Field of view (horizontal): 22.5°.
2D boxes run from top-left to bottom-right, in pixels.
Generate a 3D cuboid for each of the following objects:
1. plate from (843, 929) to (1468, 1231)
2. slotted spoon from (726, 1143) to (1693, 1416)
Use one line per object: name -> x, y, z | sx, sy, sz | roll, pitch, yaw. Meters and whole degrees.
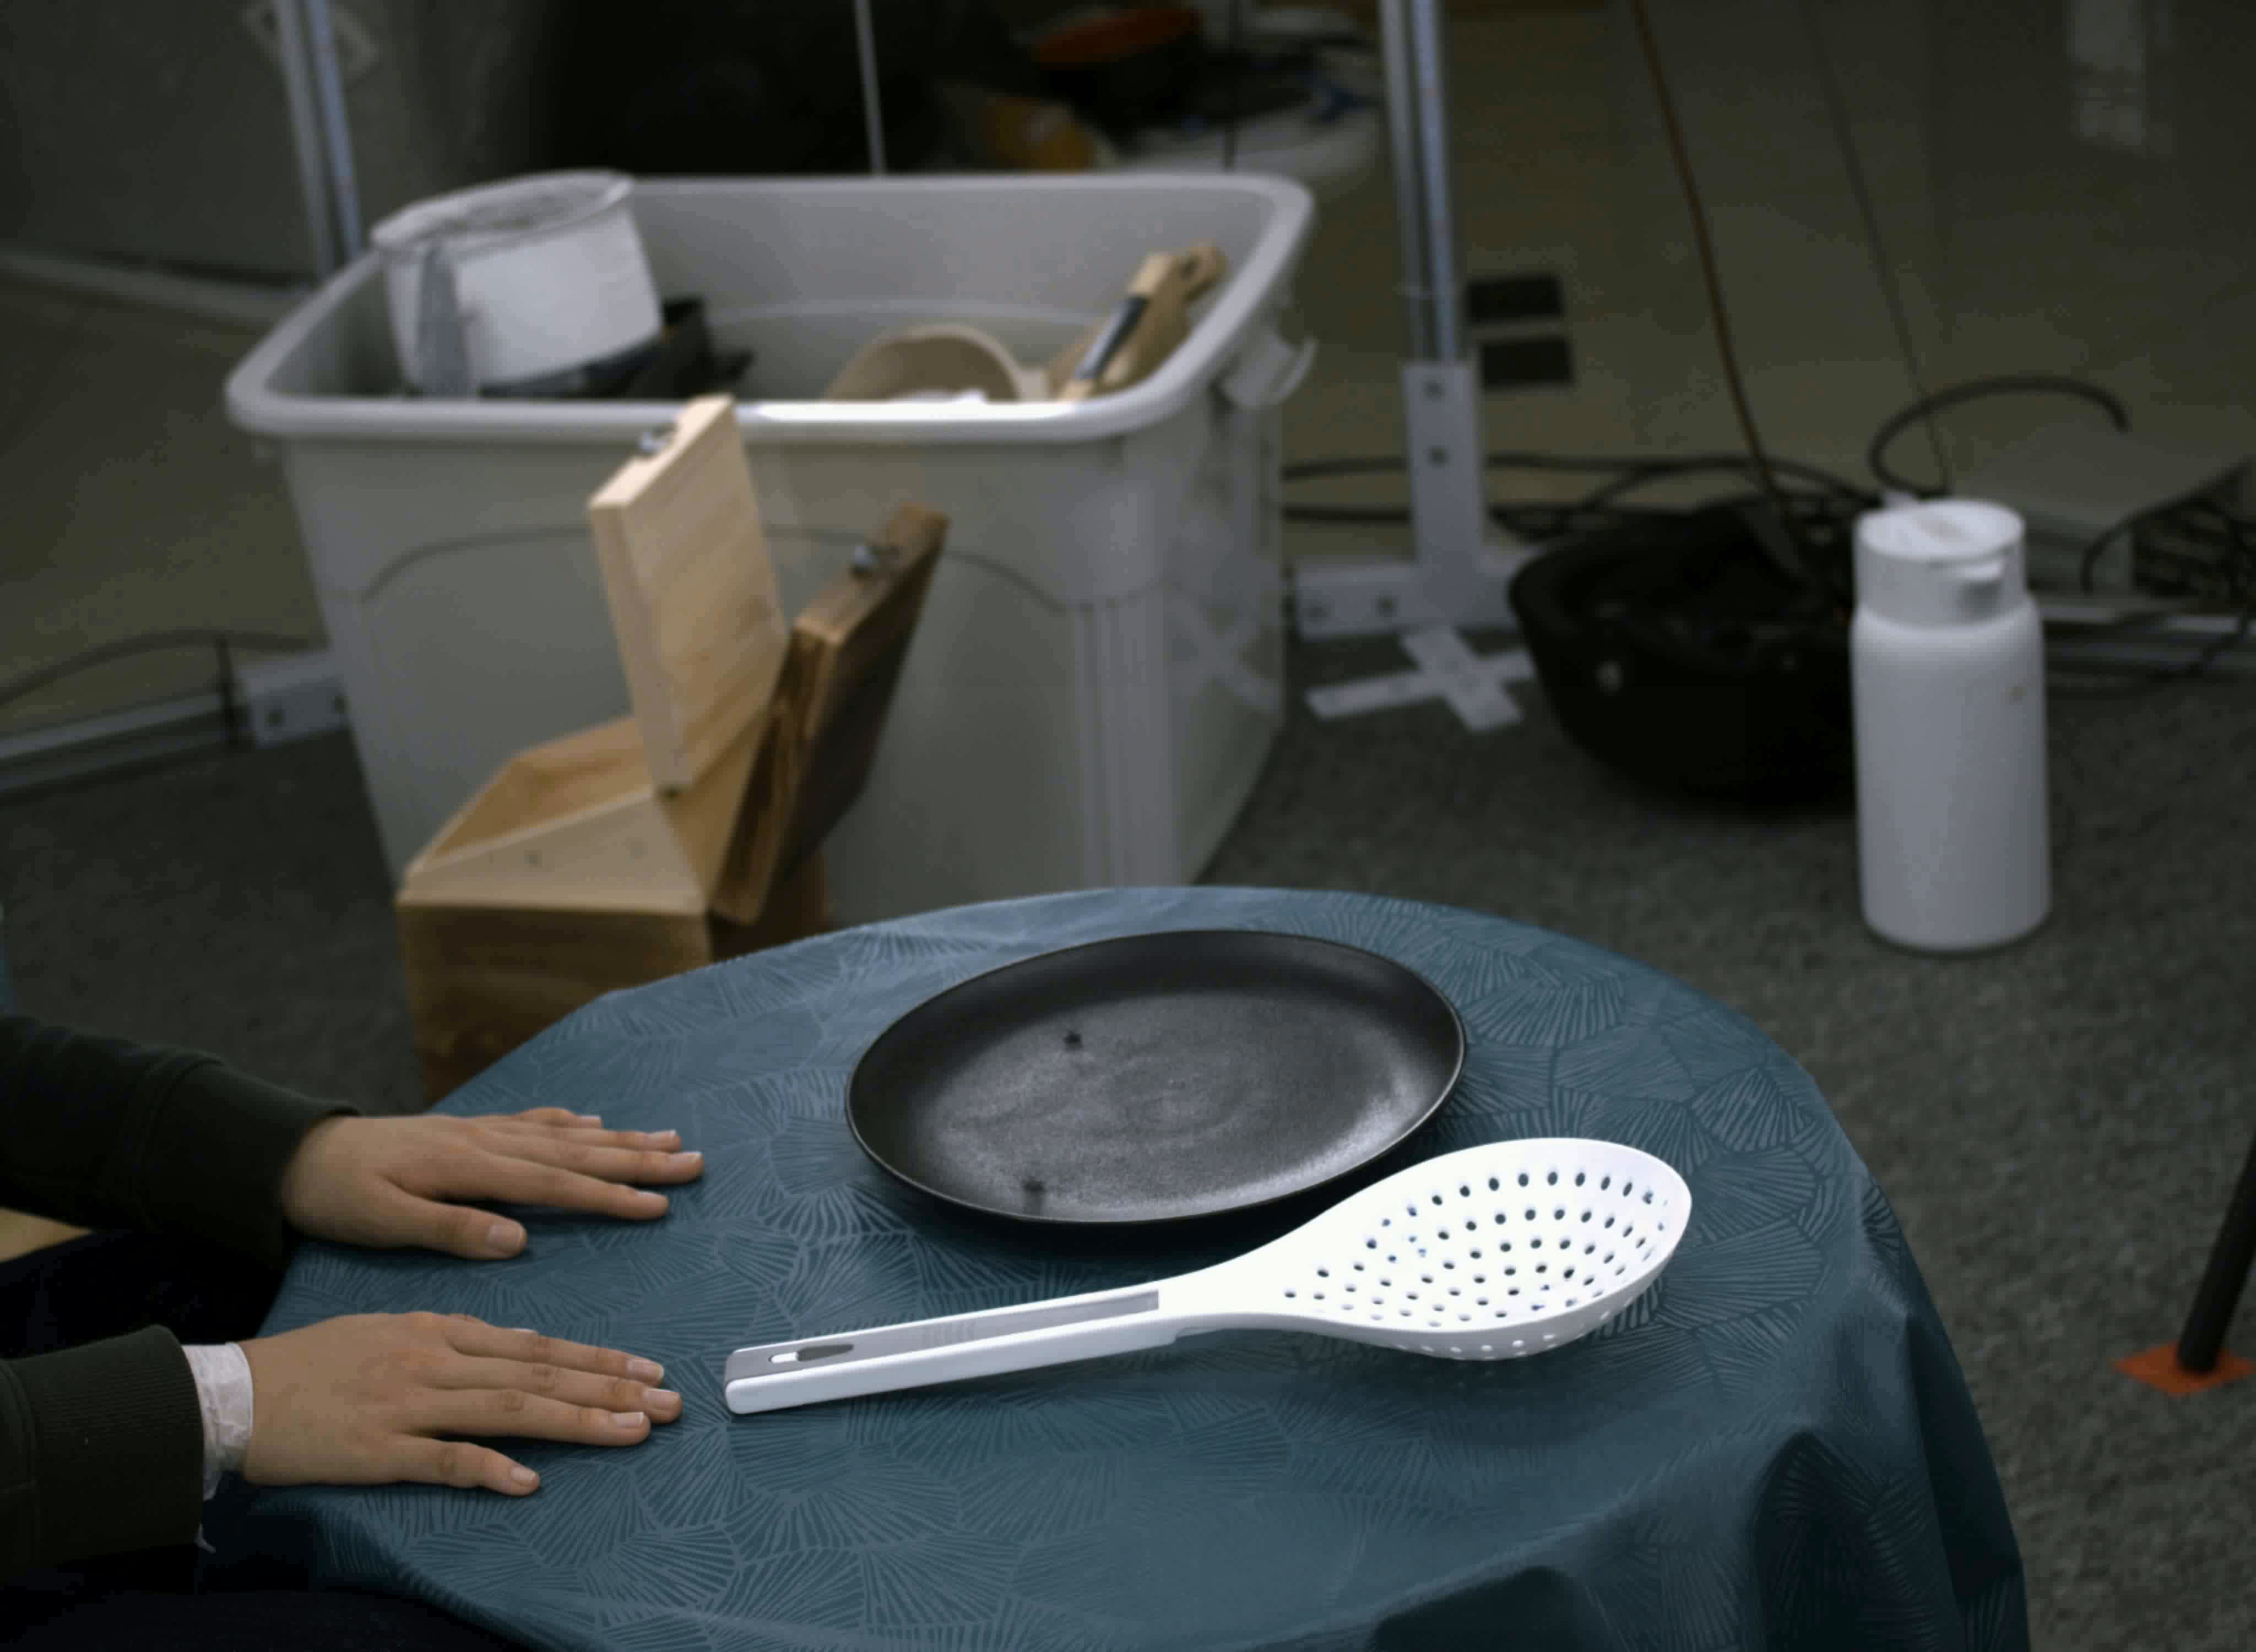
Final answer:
plate -> 0.011, 0.103, 2.199 | 0.244, 0.024, 0.241 | -5, 25, 3
slotted spoon -> 0.028, 0.171, 2.024 | 0.349, 0.046, 0.134 | -6, 23, 3
